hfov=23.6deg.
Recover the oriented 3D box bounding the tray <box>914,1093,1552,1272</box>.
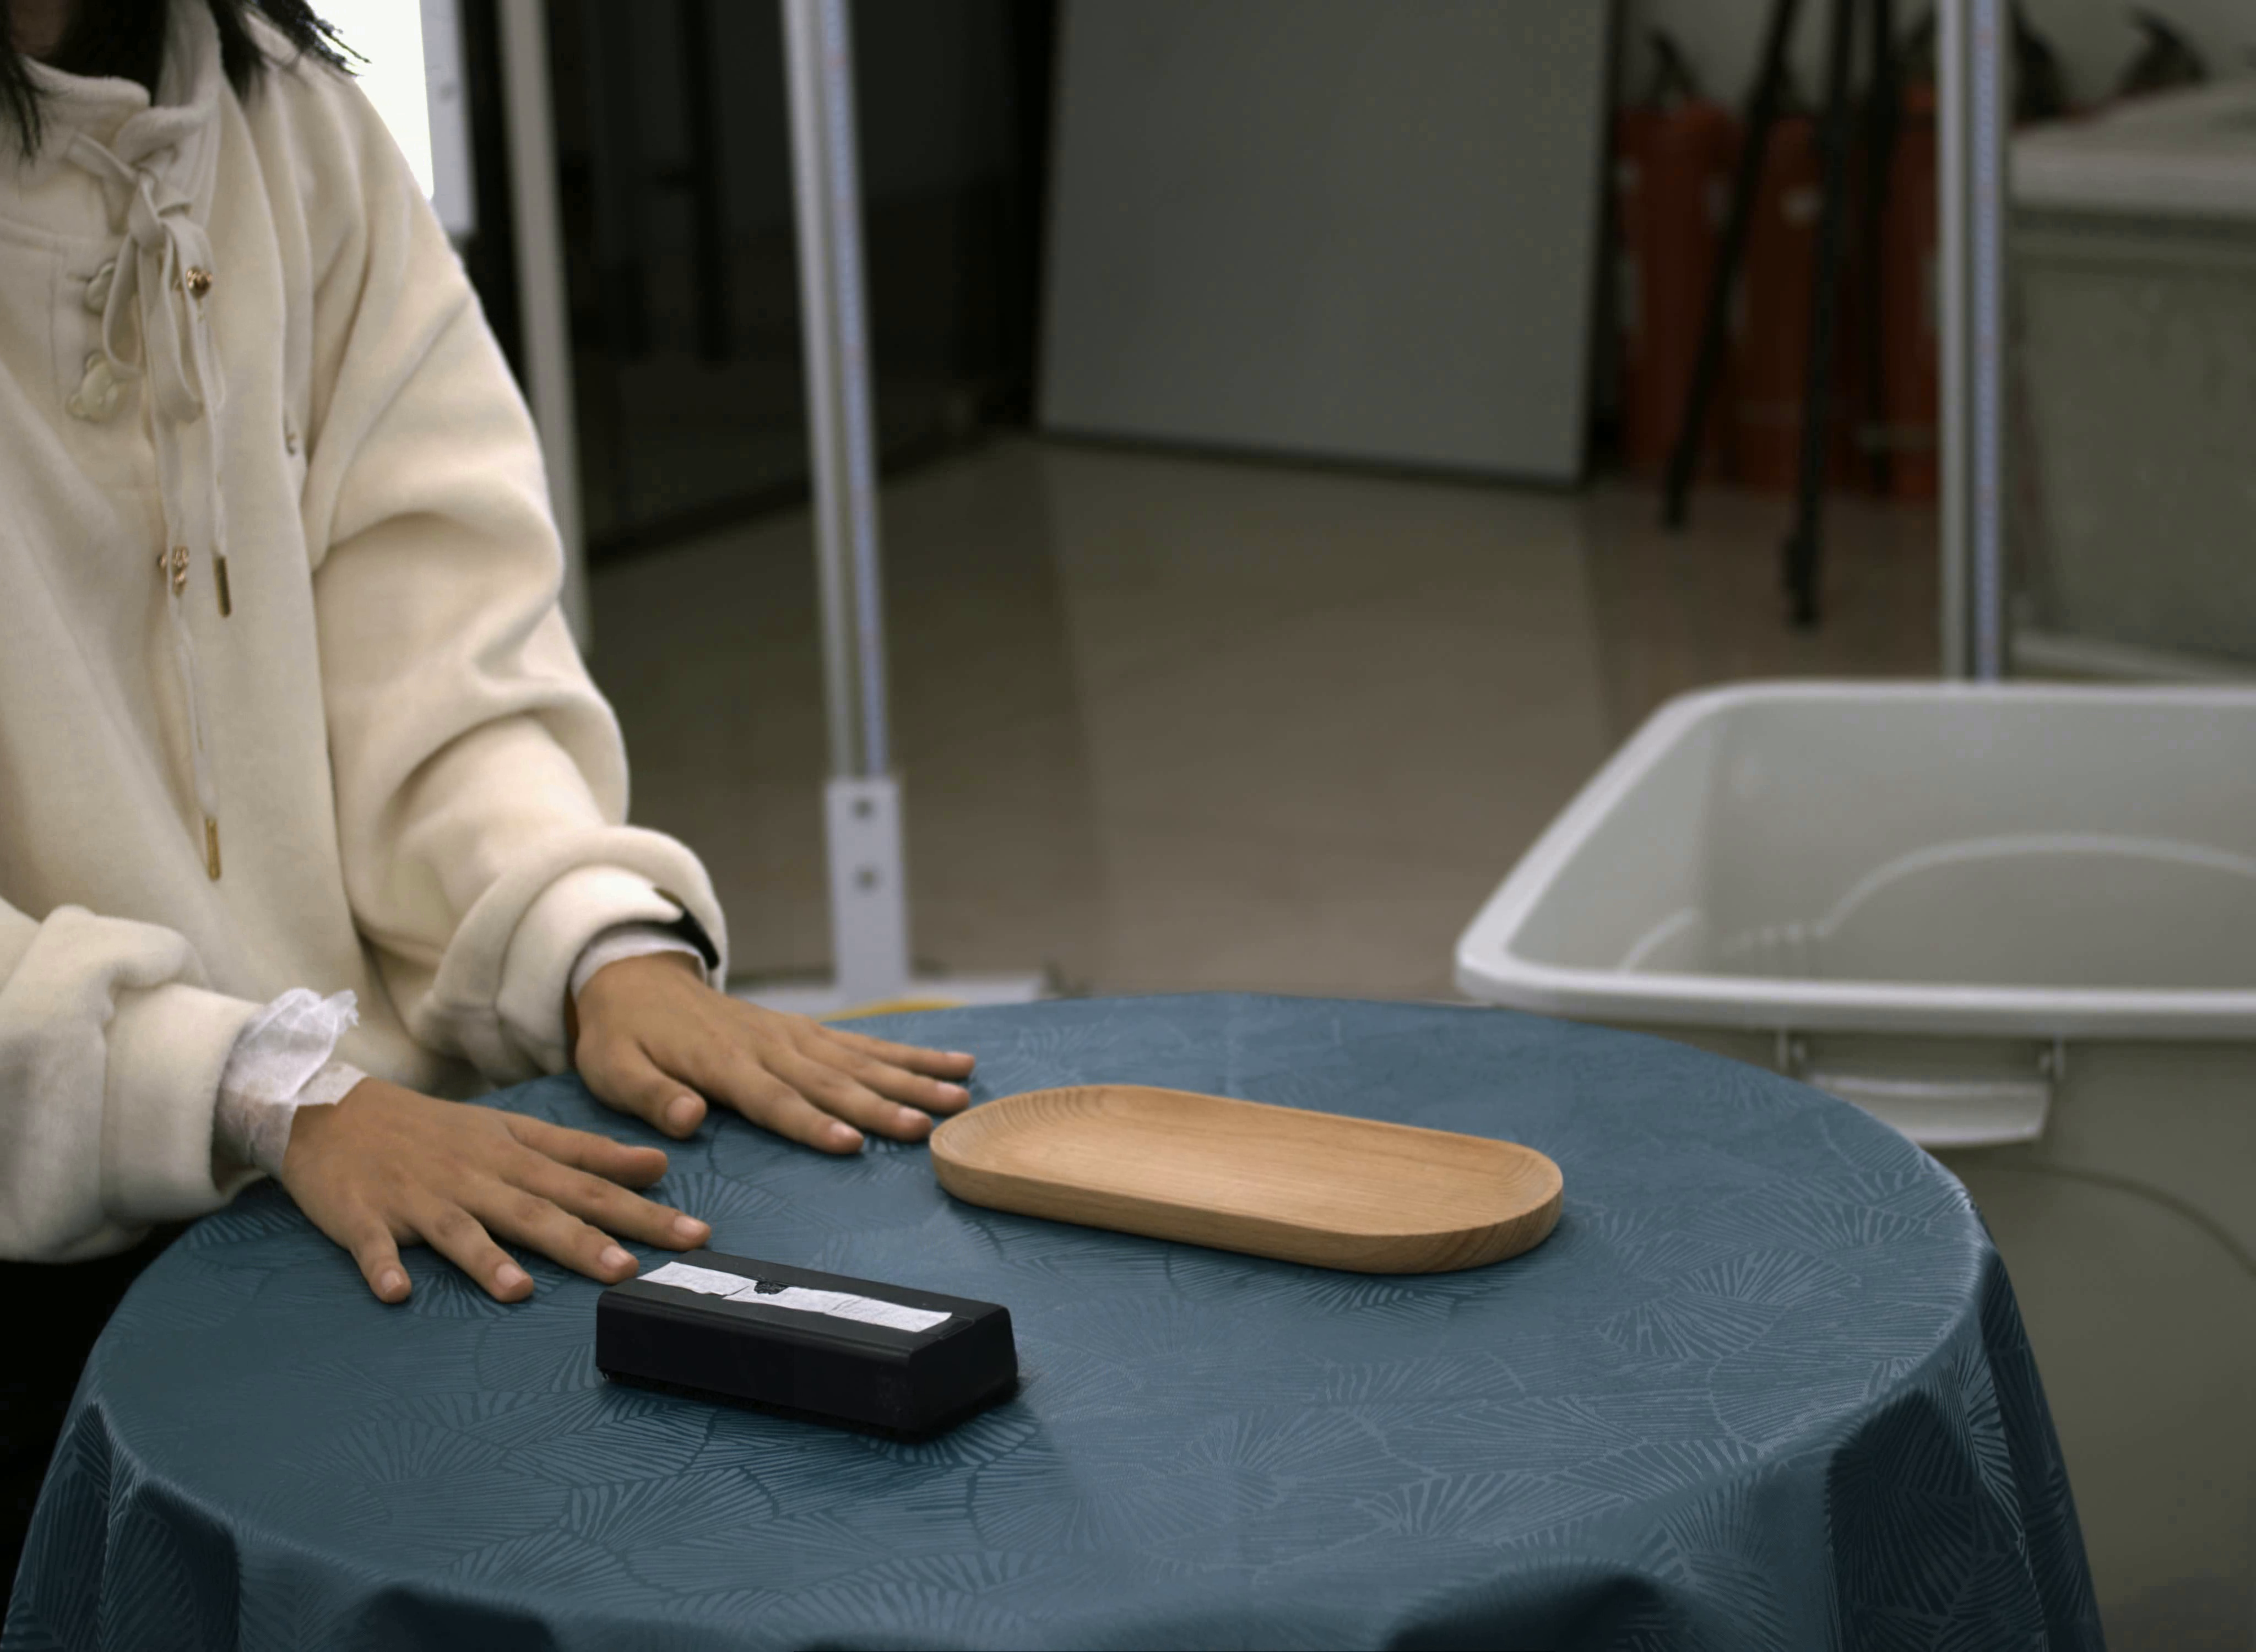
[{"bbox_3d":[0.032,0.115,1.751,0.232,0.020,0.100,4,15,36],"label":"tray"}]

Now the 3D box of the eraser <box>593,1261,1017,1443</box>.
[{"bbox_3d":[-0.095,0.155,1.601,0.126,0.031,0.052,7,12,36],"label":"eraser"}]
